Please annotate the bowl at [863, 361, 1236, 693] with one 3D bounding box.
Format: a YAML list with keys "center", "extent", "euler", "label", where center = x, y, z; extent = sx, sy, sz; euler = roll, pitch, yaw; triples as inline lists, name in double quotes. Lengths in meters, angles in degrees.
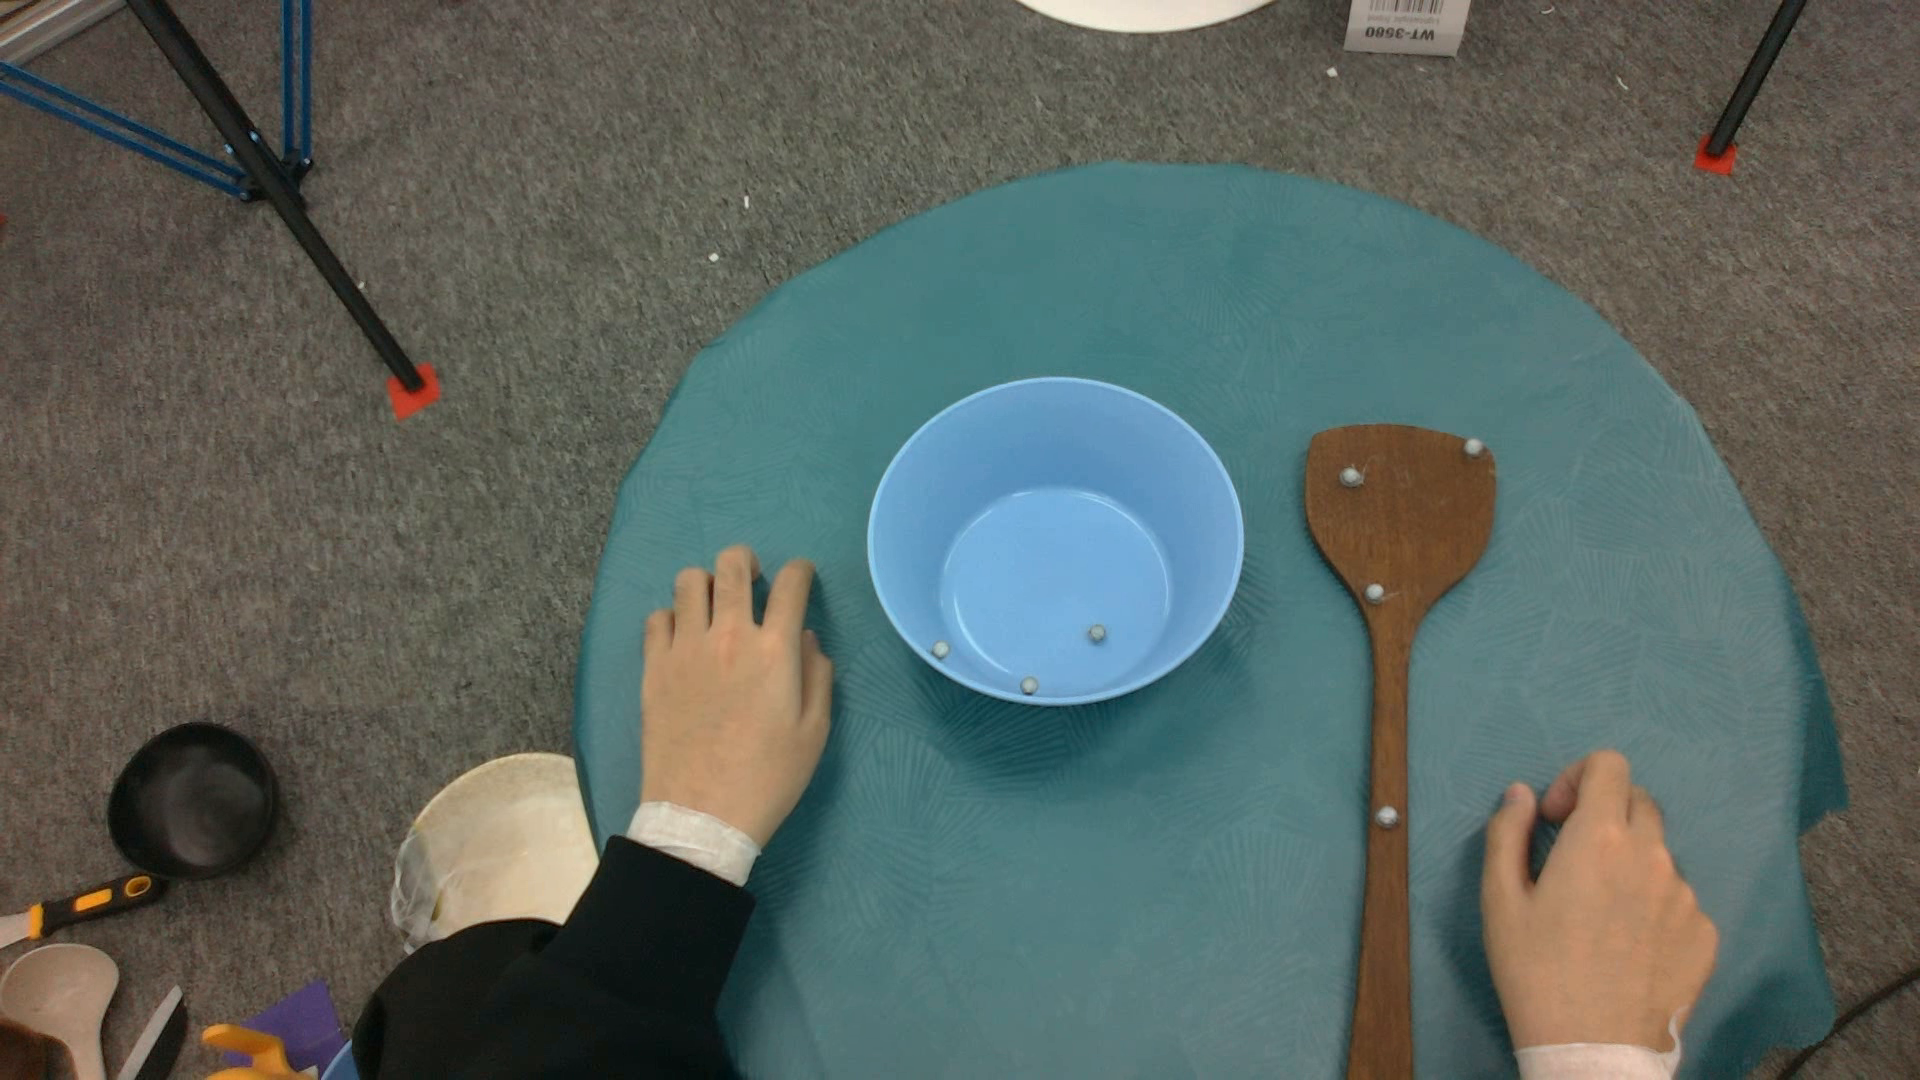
- center: [0.044, 0.003, 0.673]
  extent: [0.176, 0.070, 0.177]
  euler: [-2, 62, 4]
  label: "bowl"

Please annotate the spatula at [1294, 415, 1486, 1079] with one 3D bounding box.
- center: [0.195, 0.104, 0.638]
  extent: [0.096, 0.016, 0.387]
  euler: [6, 62, 8]
  label: "spatula"
